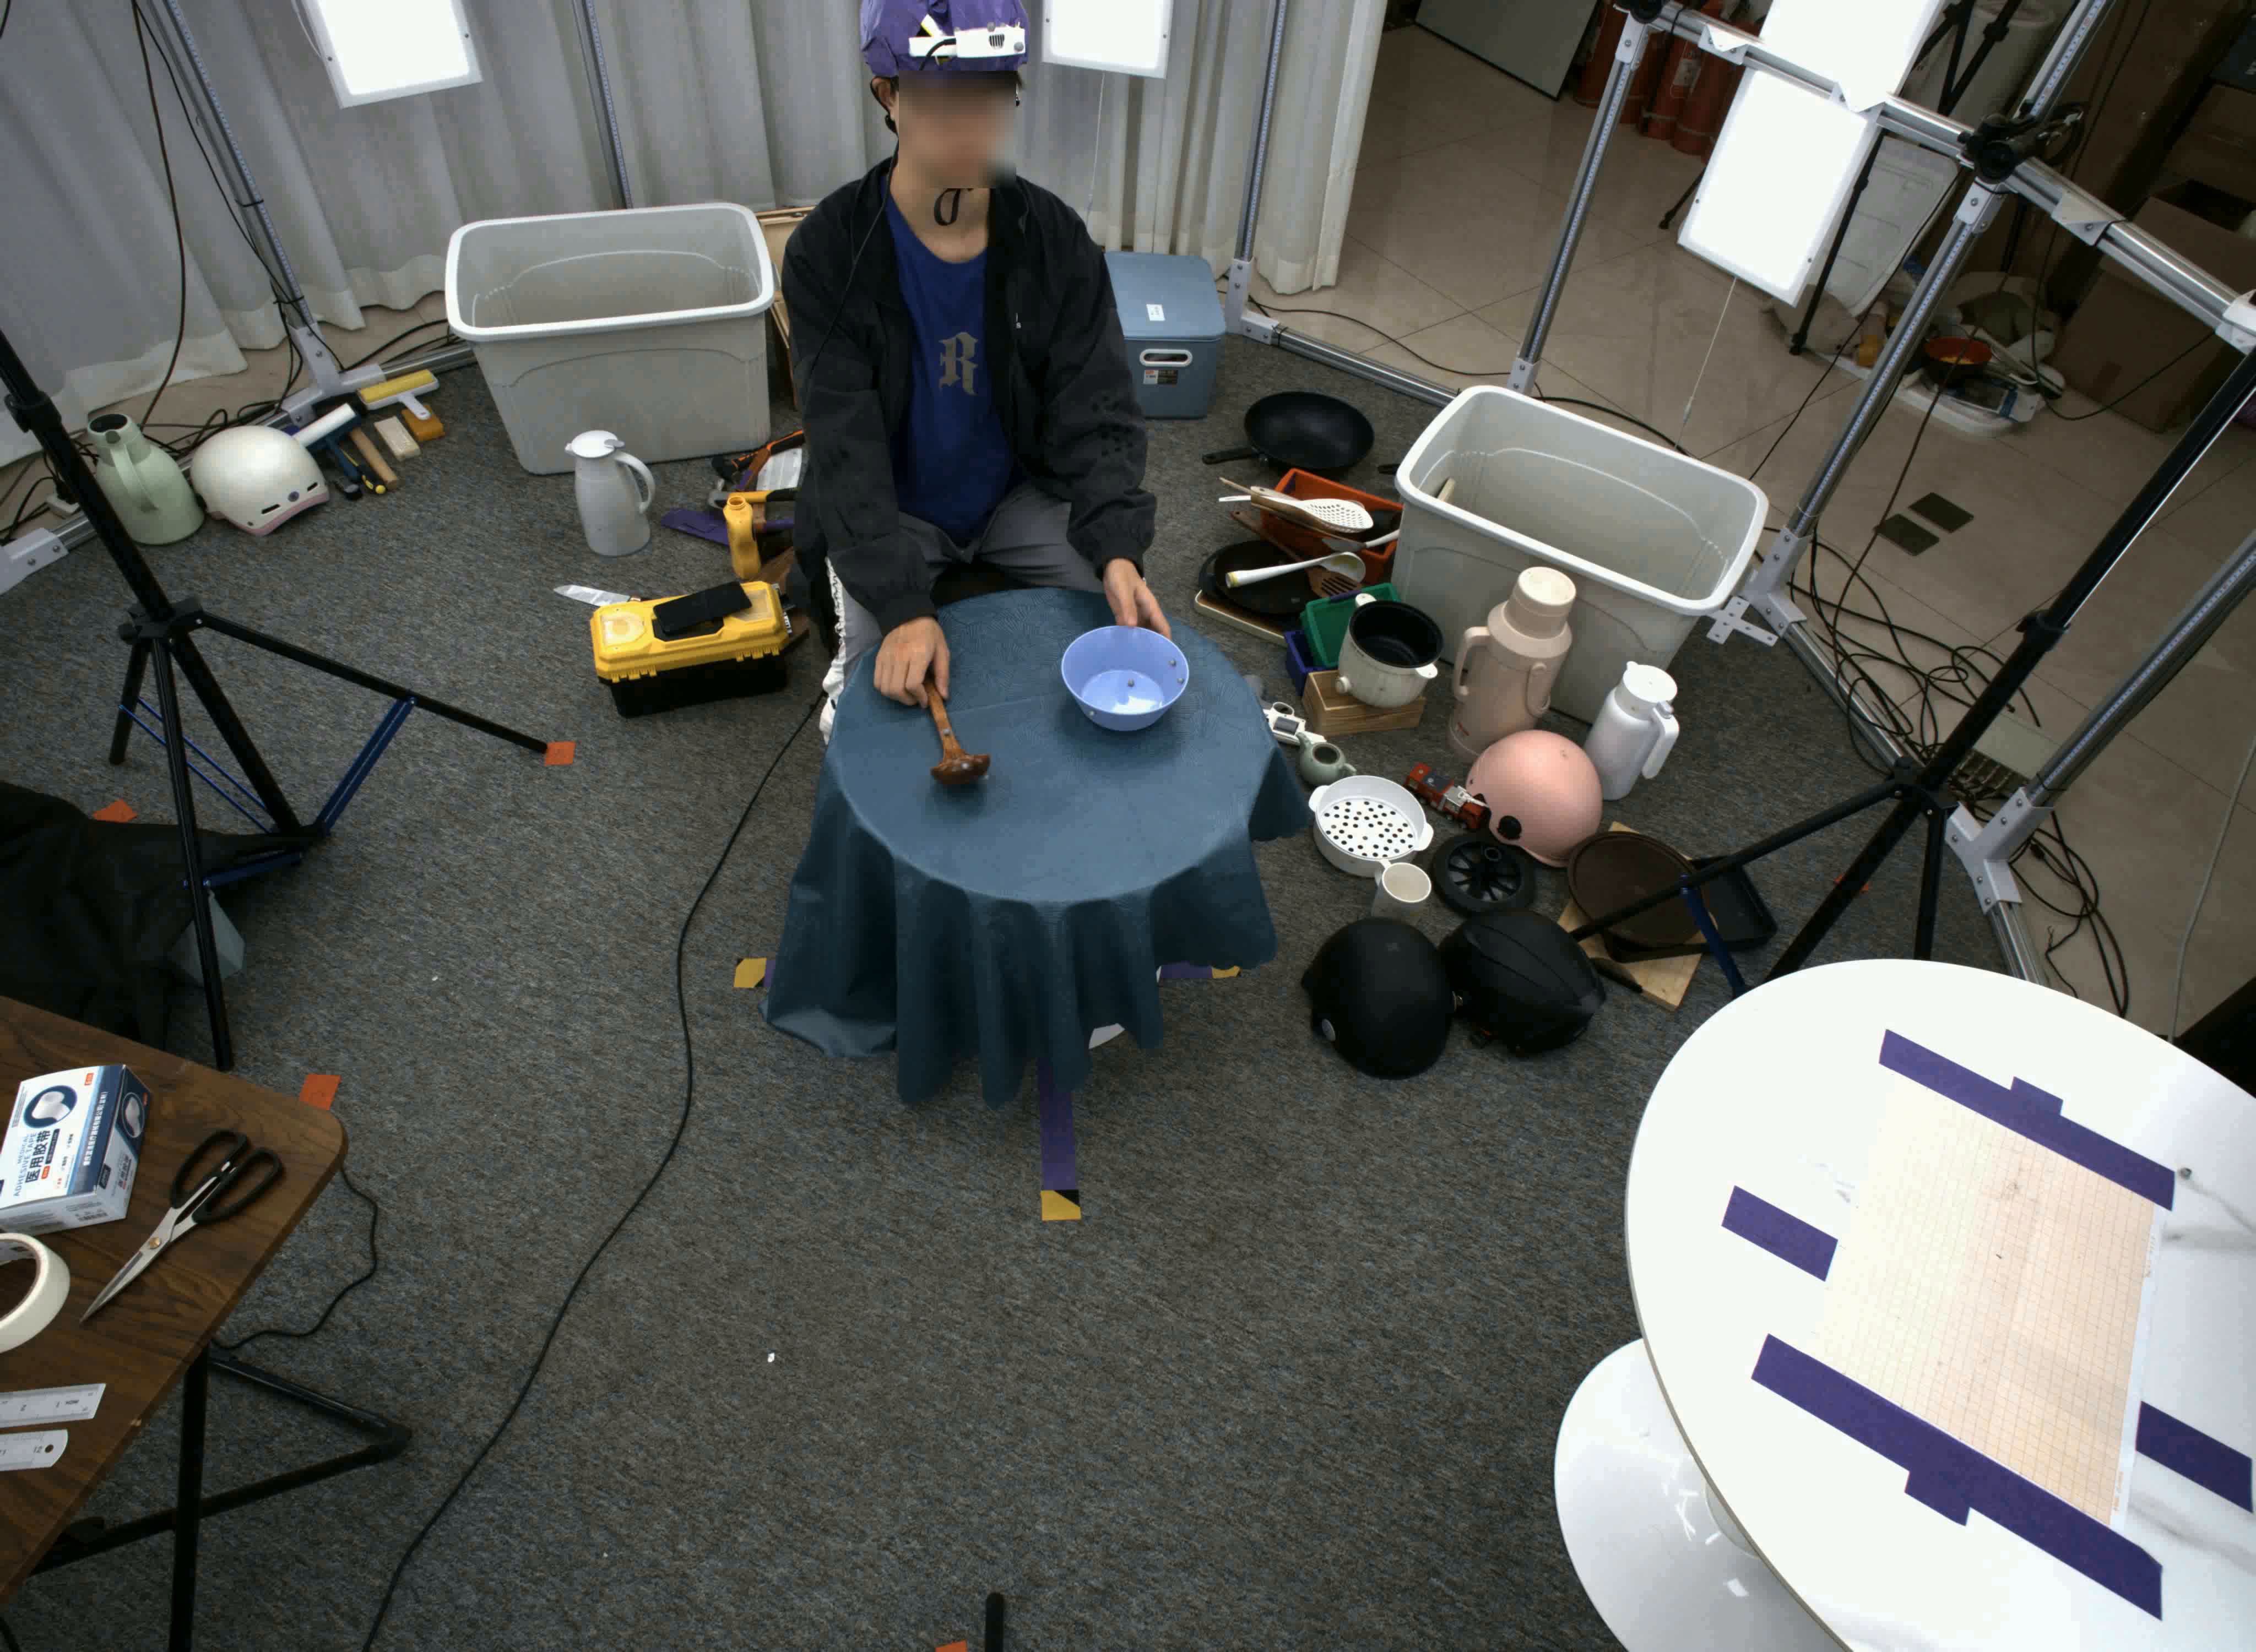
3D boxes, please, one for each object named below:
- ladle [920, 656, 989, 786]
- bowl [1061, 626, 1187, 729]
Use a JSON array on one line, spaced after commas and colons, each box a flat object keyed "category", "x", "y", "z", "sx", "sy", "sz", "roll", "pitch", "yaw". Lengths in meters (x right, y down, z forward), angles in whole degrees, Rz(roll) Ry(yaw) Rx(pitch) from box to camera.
[{"category": "ladle", "x": -0.252, "y": -0.157, "z": 1.743, "sx": 0.082, "sy": 0.075, "sz": 0.281, "roll": -11, "pitch": 52, "yaw": -13}, {"category": "bowl", "x": -0.007, "y": -0.199, "z": 1.799, "sx": 0.176, "sy": 0.068, "sz": 0.180, "roll": 2, "pitch": 49, "yaw": -3}]
